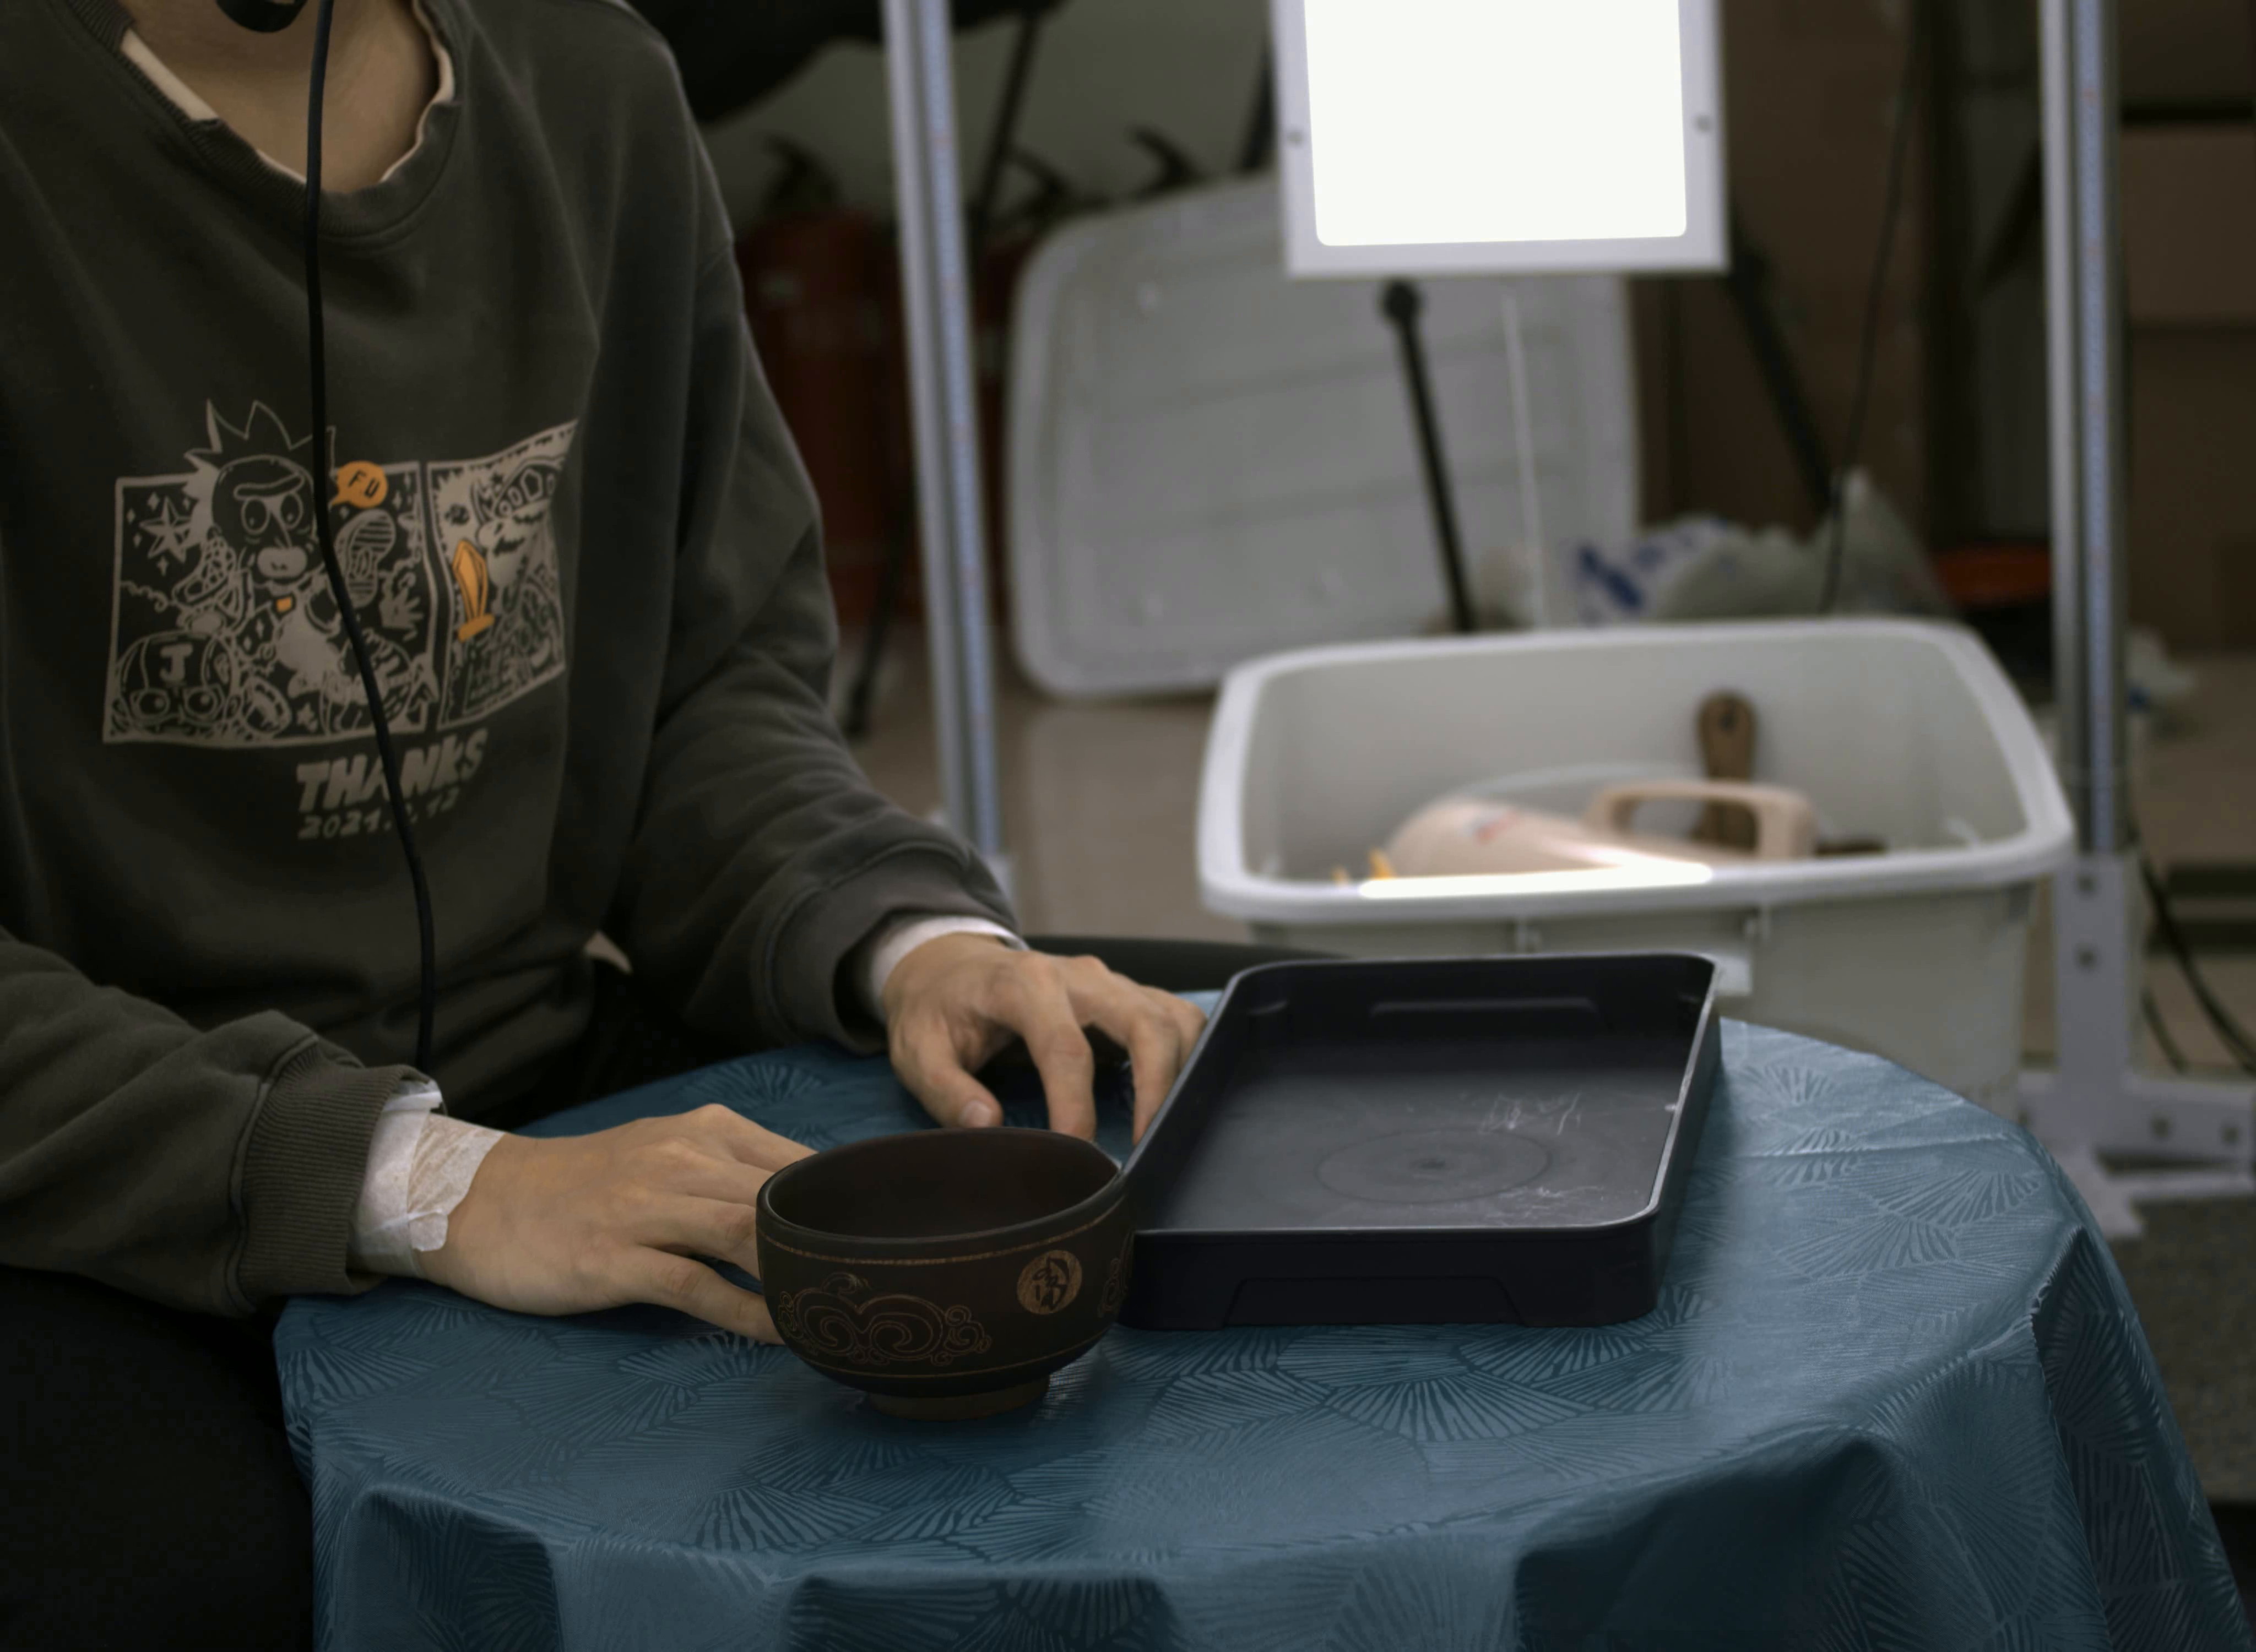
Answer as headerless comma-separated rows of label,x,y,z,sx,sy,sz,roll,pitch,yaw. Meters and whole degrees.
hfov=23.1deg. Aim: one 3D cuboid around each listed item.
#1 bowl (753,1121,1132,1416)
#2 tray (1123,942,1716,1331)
bowl,-0.056,0.141,1.708,0.118,0.070,0.118,-6,13,0
tray,0.105,0.102,1.884,0.185,0.037,0.315,-3,14,10
